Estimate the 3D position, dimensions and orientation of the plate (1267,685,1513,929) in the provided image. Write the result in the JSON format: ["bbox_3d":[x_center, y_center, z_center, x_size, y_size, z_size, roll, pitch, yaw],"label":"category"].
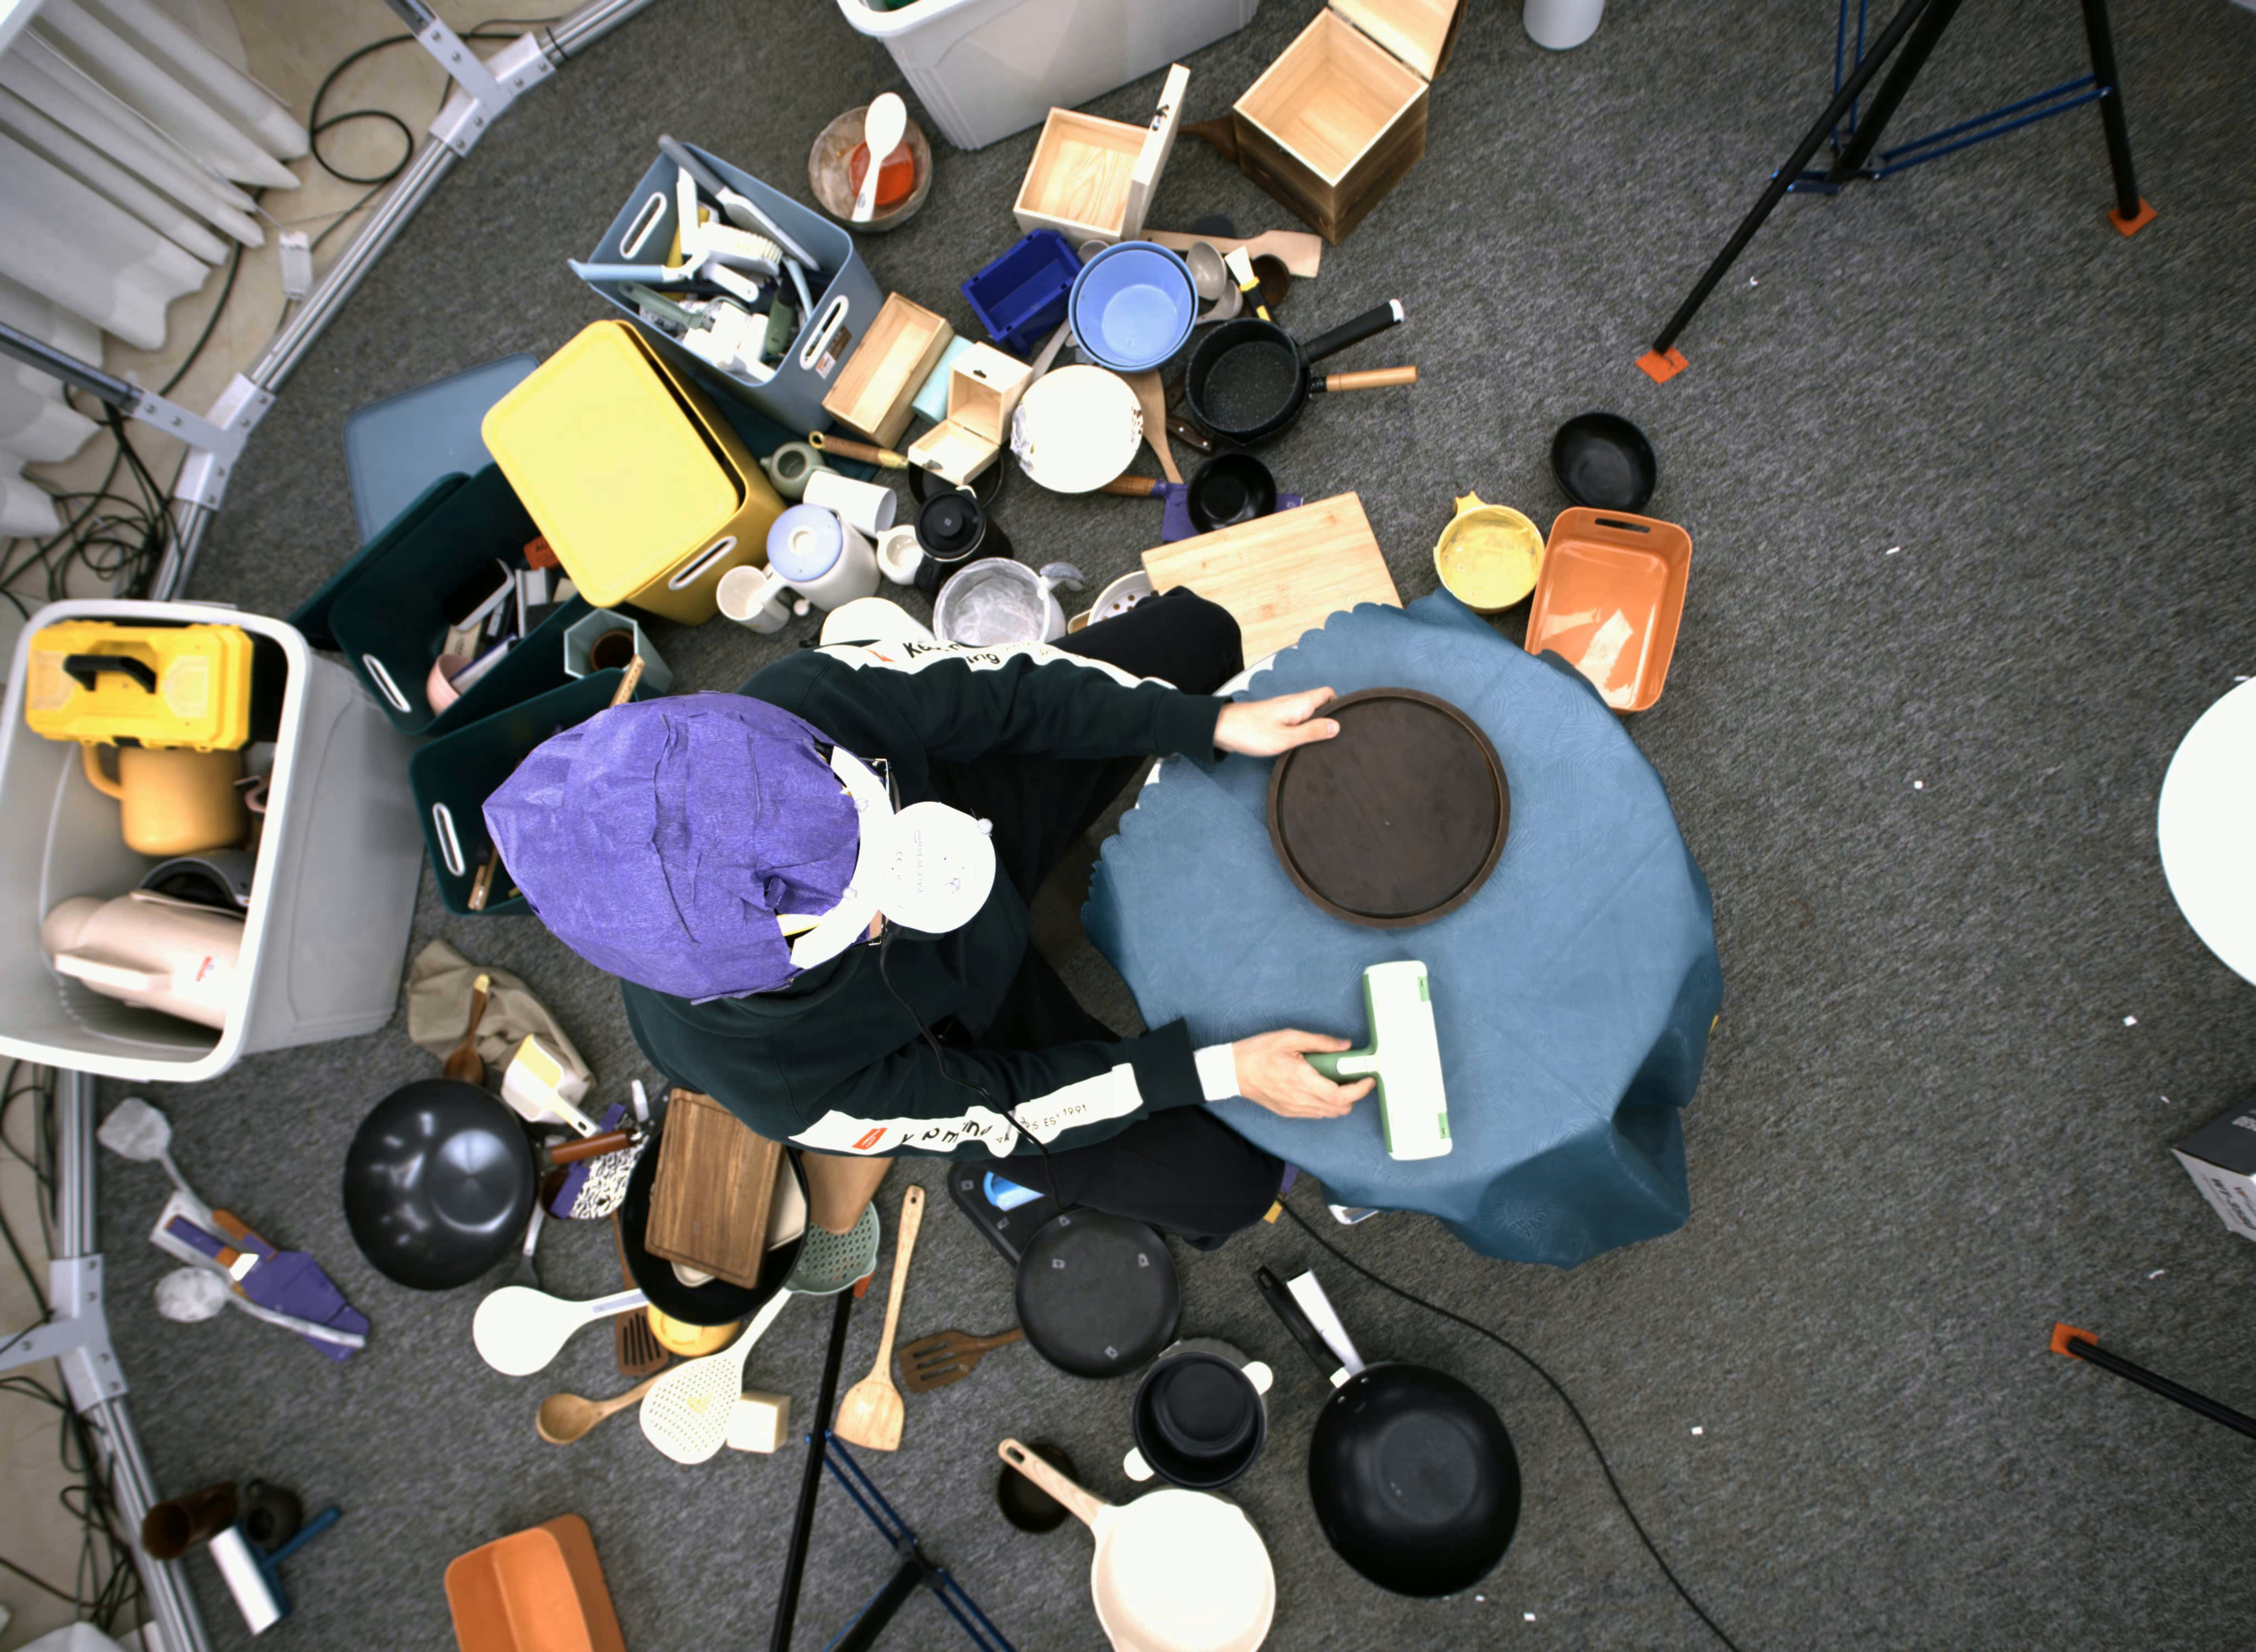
[{"bbox_3d":[0.271,-0.021,1.432,0.255,0.029,0.255,0,94,3],"label":"plate"}]

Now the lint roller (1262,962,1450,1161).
[{"bbox_3d":[0.222,0.243,1.404,0.184,0.082,0.197,-8,82,13],"label":"lint roller"}]
